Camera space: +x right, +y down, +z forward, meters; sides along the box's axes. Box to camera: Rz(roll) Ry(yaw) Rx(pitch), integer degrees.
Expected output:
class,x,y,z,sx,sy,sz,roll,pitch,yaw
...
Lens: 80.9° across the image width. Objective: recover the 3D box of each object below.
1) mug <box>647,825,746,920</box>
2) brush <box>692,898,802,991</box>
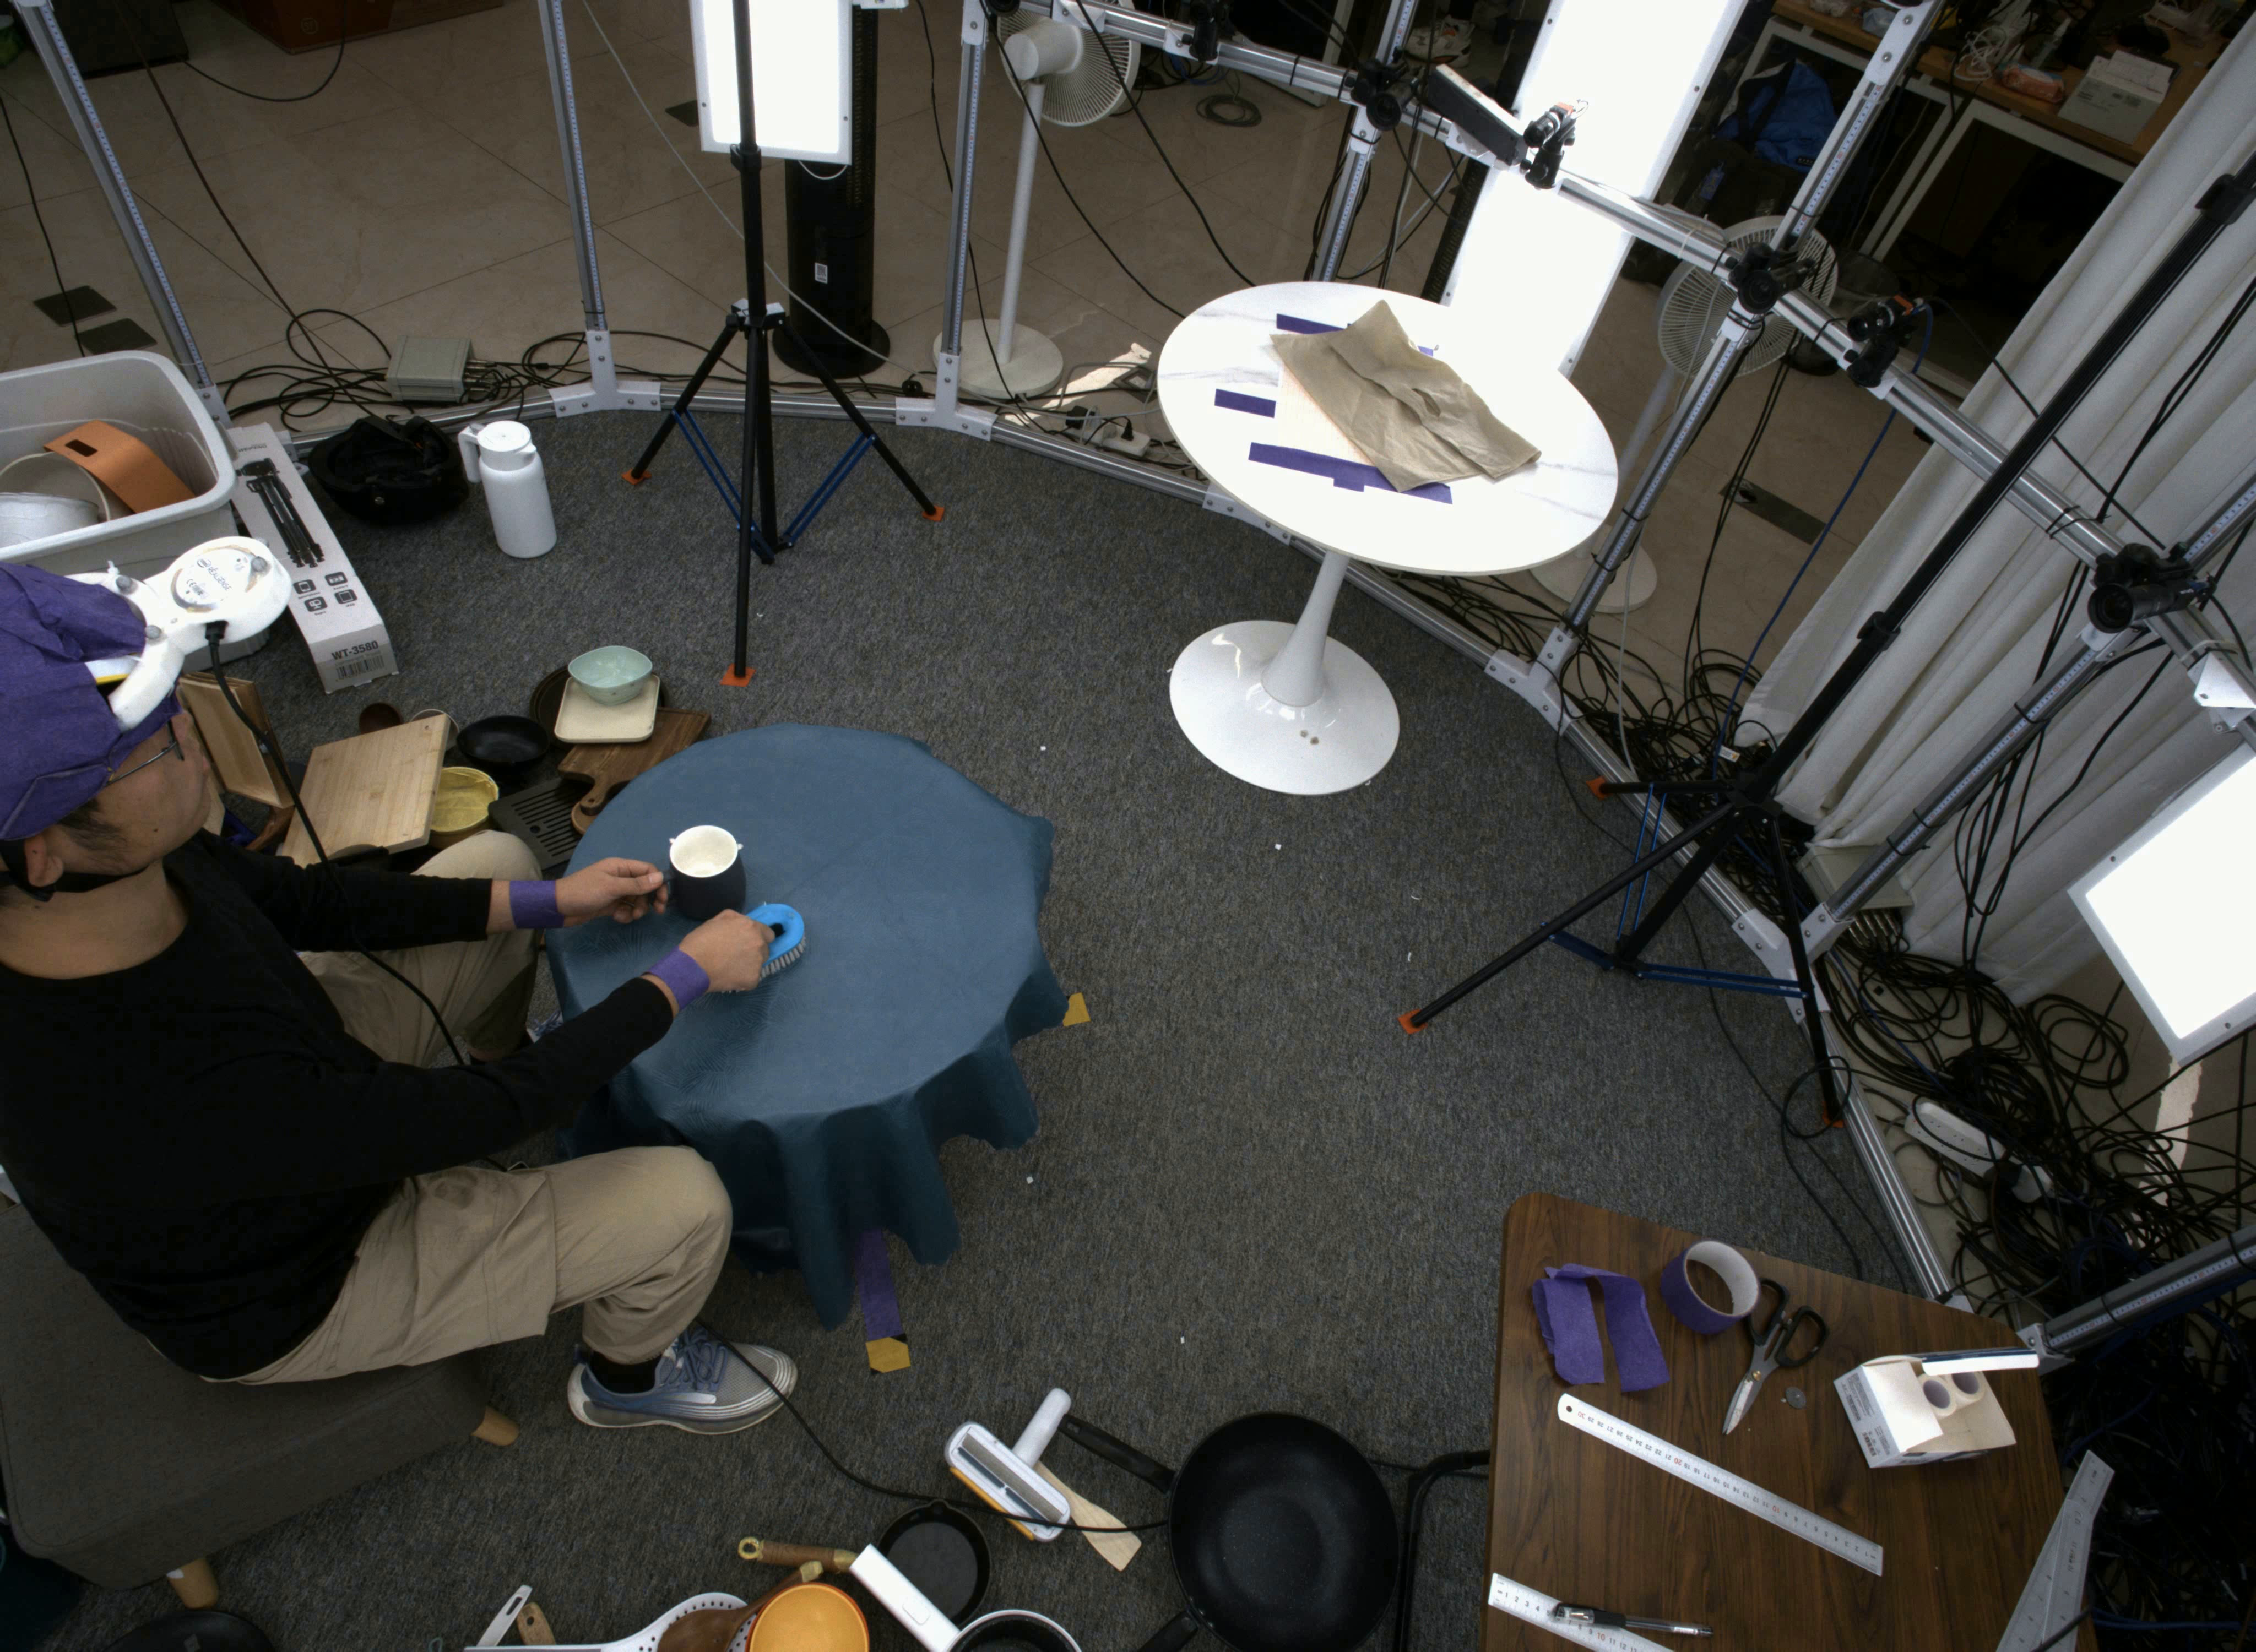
class,x,y,z,sx,sy,sz,roll,pitch,yaw
mug,-0.535,0.060,1.593,0.124,0.092,0.091,-24,61,-30
brush,-0.461,0.136,1.574,0.142,0.065,0.083,-30,69,-30
